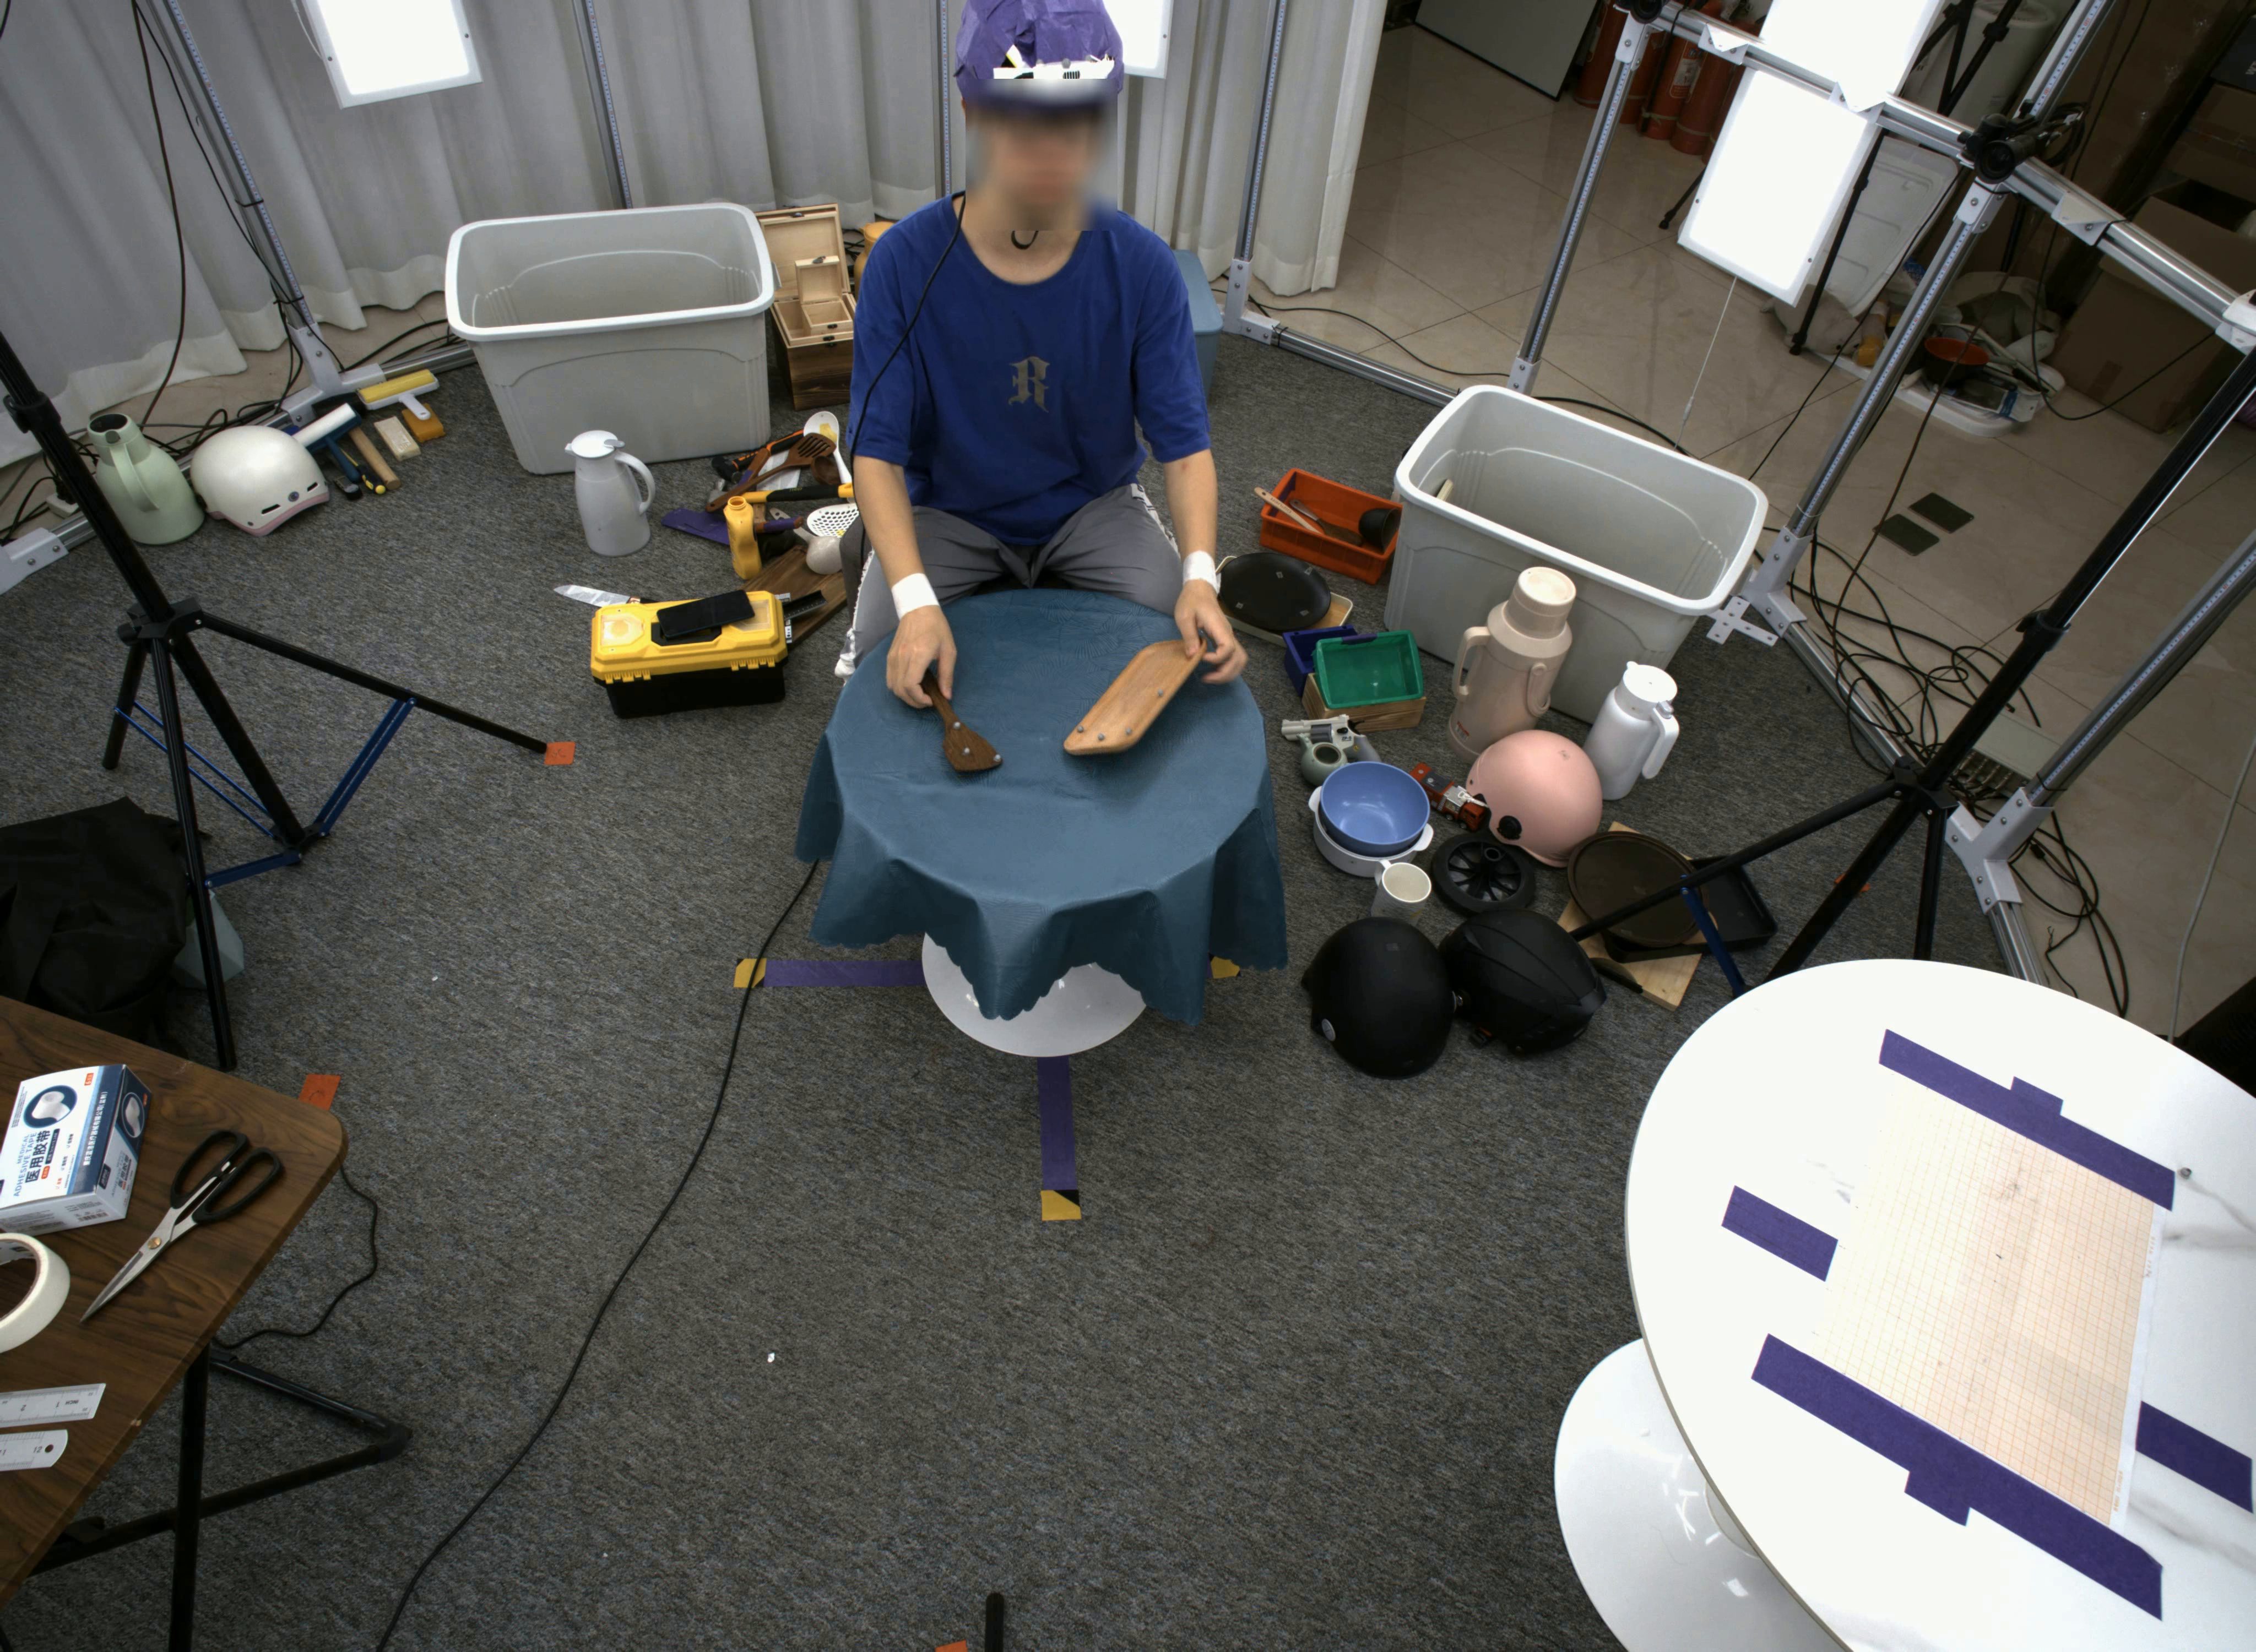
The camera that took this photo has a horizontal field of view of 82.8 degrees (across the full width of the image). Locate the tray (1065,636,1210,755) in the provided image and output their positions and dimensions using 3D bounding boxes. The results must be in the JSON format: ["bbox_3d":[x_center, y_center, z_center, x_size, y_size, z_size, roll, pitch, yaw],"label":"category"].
[{"bbox_3d":[0.016,-0.182,1.781,0.131,0.022,0.254,4,43,39],"label":"tray"}]

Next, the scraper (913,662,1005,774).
[{"bbox_3d":[-0.243,-0.151,1.766,0.076,0.010,0.215,-13,56,-30],"label":"scraper"}]
